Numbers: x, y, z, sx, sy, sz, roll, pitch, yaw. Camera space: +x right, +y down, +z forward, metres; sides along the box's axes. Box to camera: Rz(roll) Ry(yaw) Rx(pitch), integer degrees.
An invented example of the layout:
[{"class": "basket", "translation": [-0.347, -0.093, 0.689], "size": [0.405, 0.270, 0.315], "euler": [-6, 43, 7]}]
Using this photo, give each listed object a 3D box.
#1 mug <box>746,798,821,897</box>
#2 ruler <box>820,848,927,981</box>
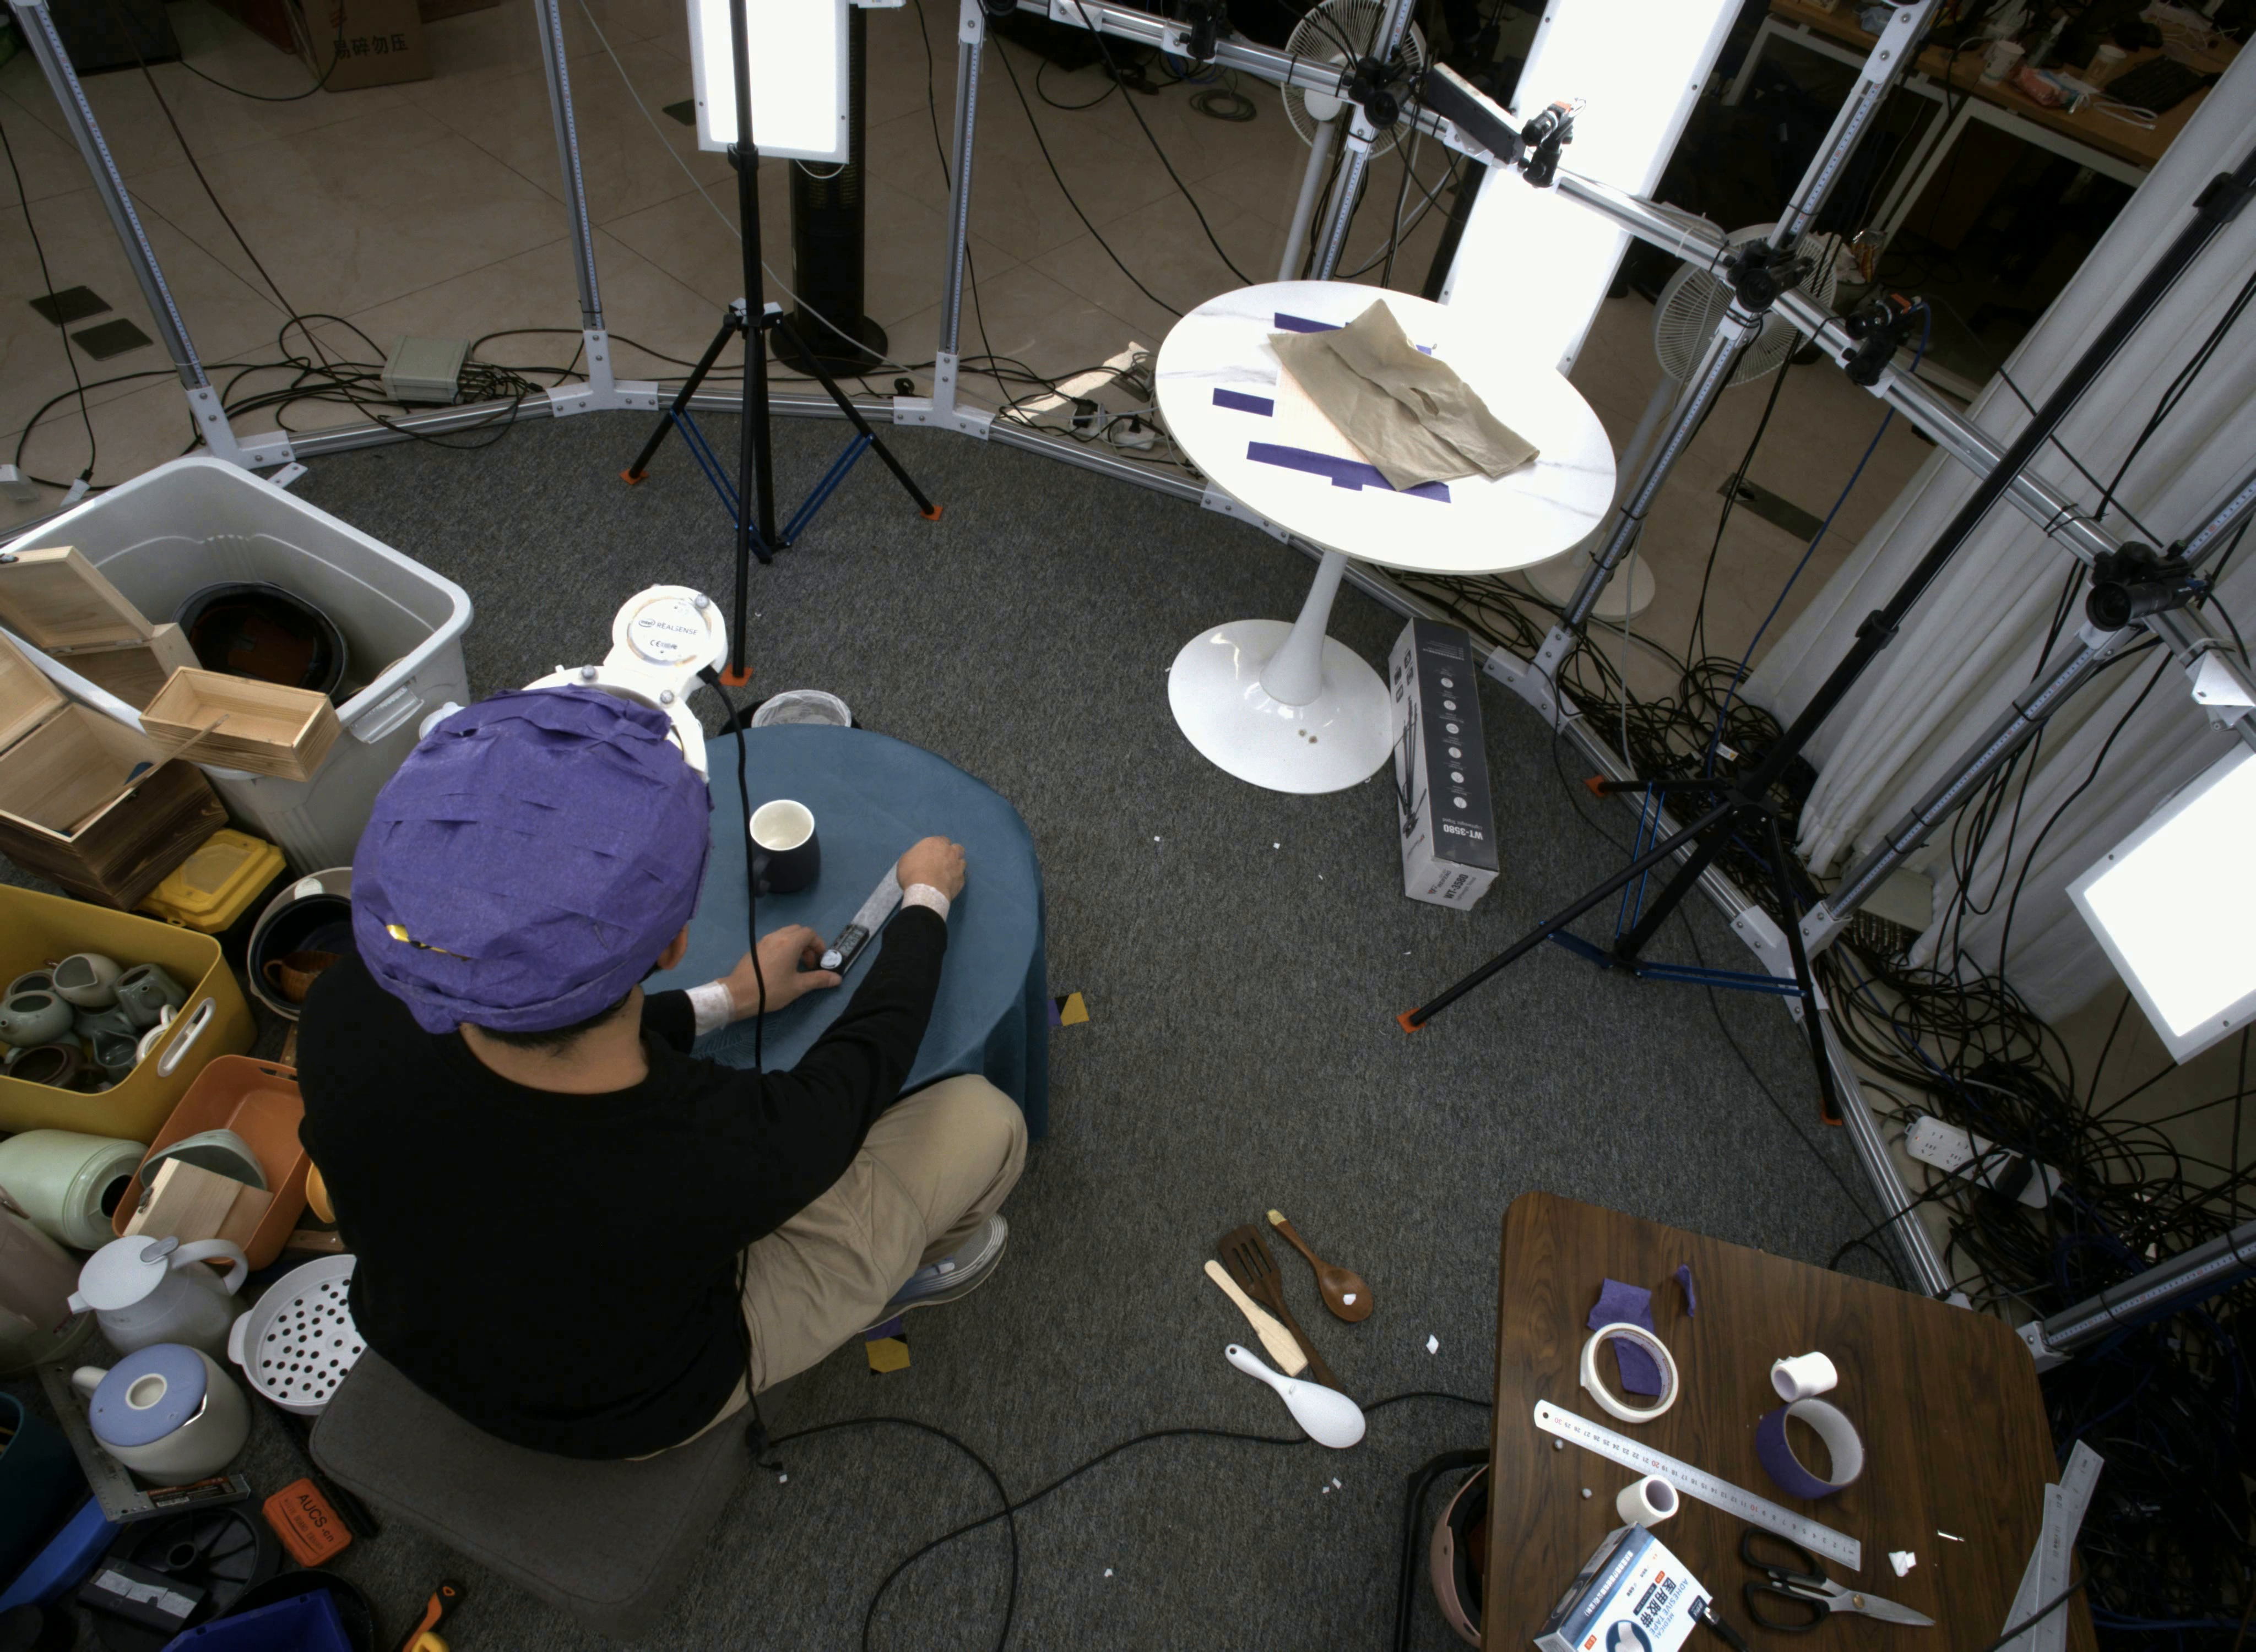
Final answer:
[{"class": "mug", "translation": [-0.443, 0.033, 1.629], "size": [0.092, 0.092, 0.122], "euler": [22, 50, 6]}, {"class": "ruler", "translation": [-0.324, 0.105, 1.650], "size": [0.038, 0.024, 0.217], "euler": [26, 53, 6]}]
